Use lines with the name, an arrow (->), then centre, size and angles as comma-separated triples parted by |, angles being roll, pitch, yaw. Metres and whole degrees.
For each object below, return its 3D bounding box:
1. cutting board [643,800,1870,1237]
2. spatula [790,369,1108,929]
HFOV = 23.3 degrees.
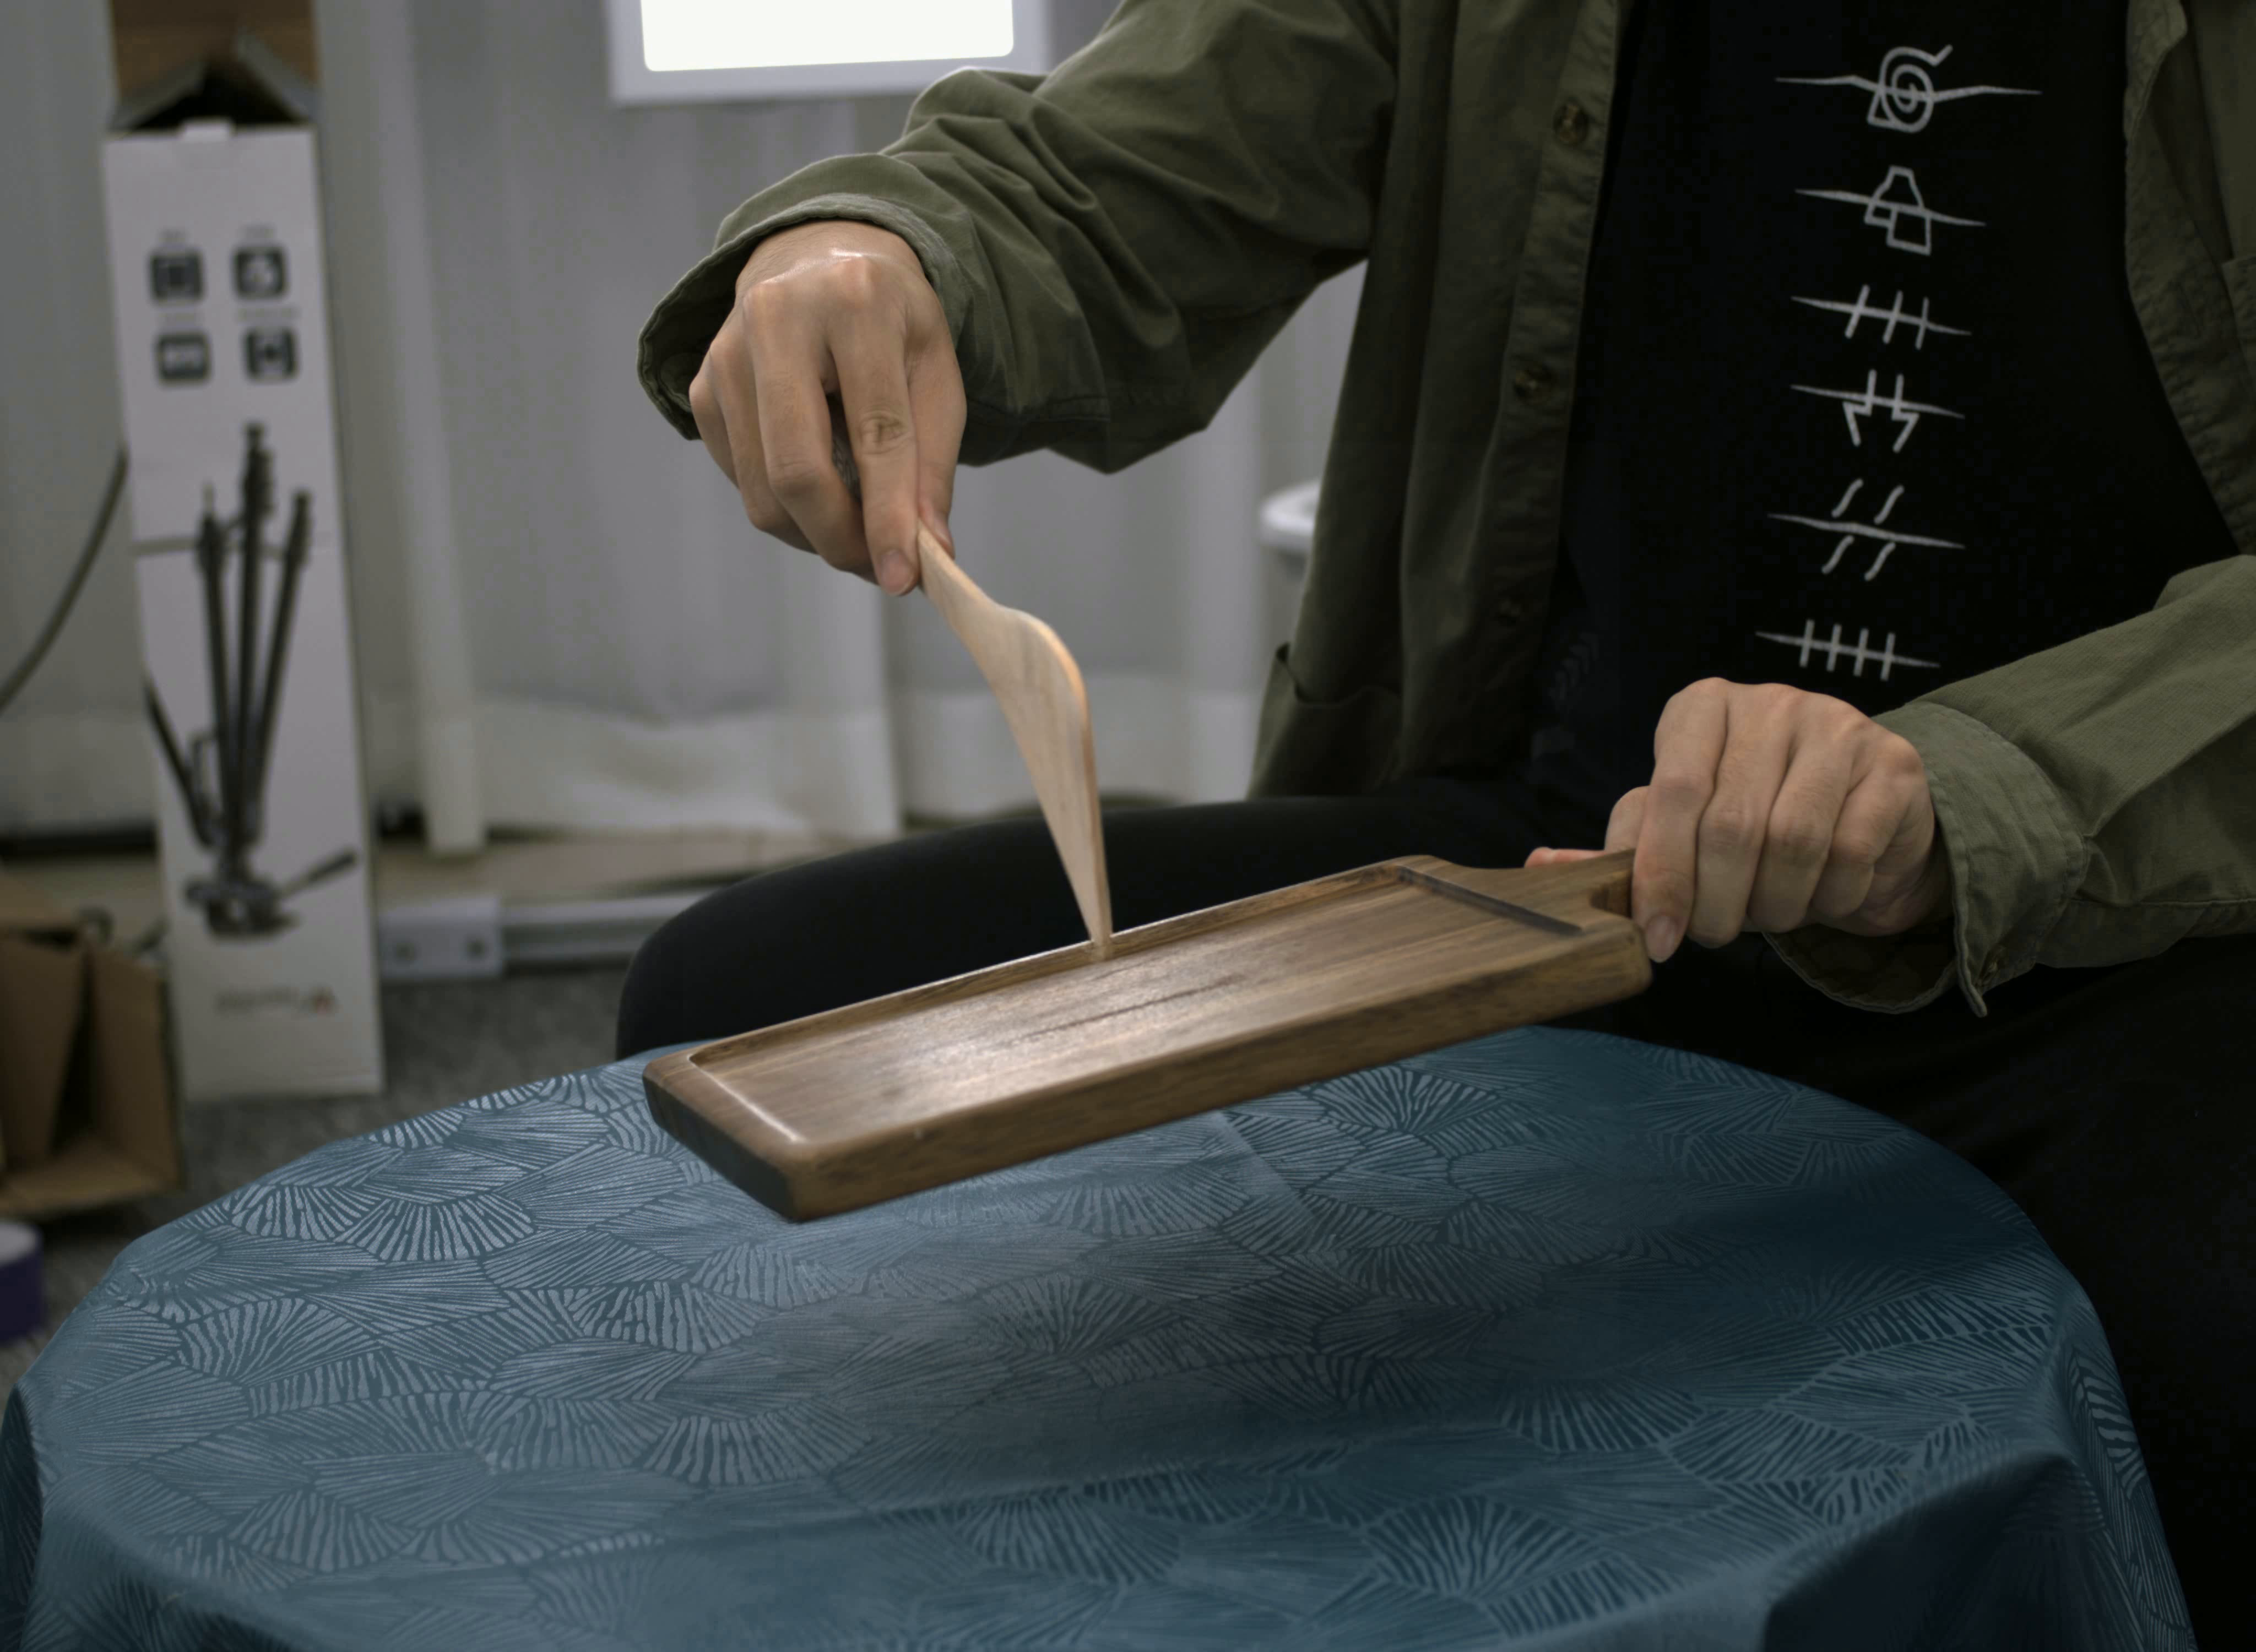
cutting board -> 0.047, 0.046, 1.544 | 0.351, 0.023, 0.202 | -15, 9, -13
spatula -> -0.056, -0.071, 1.617 | 0.016, 0.079, 0.331 | -12, 28, -16
